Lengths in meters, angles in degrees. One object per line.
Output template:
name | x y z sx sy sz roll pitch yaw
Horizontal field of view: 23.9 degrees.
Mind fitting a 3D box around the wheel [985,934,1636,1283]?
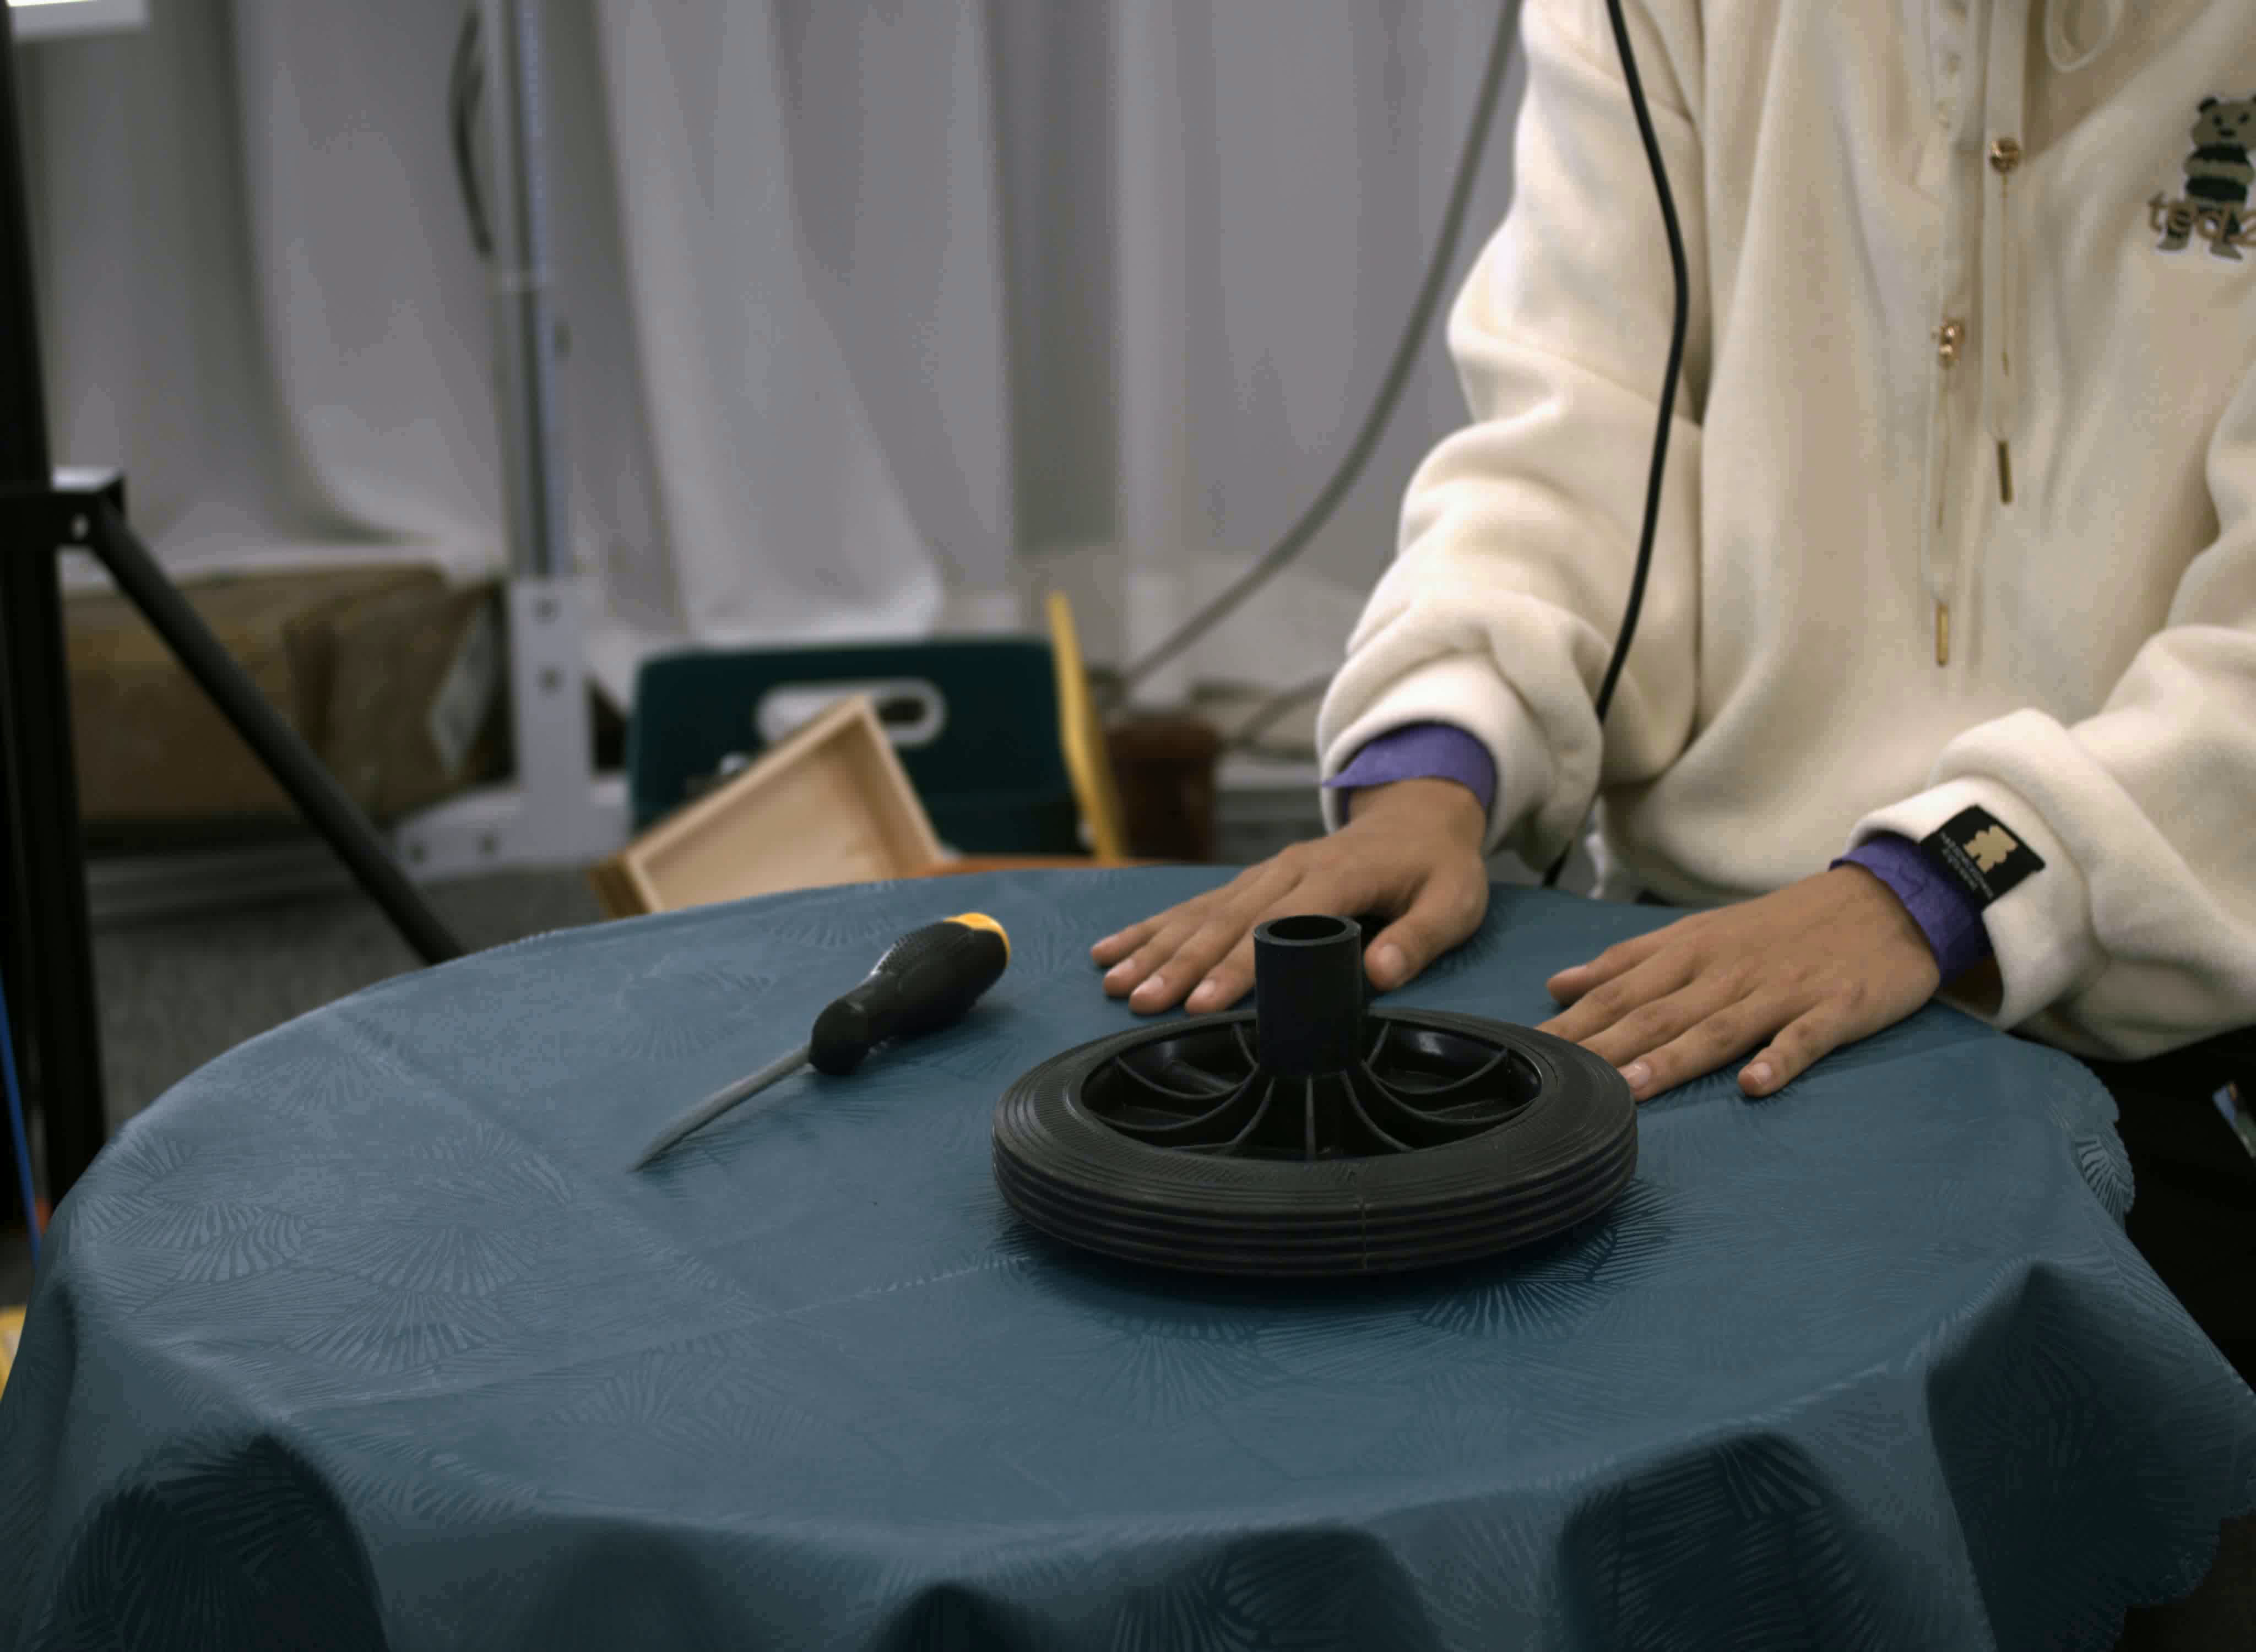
wheel | 0.051 0.073 1.536 0.193 0.079 0.184 3 17 31

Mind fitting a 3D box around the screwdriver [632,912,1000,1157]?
screwdriver | -0.101 0.067 1.675 0.032 0.031 0.194 8 22 33
